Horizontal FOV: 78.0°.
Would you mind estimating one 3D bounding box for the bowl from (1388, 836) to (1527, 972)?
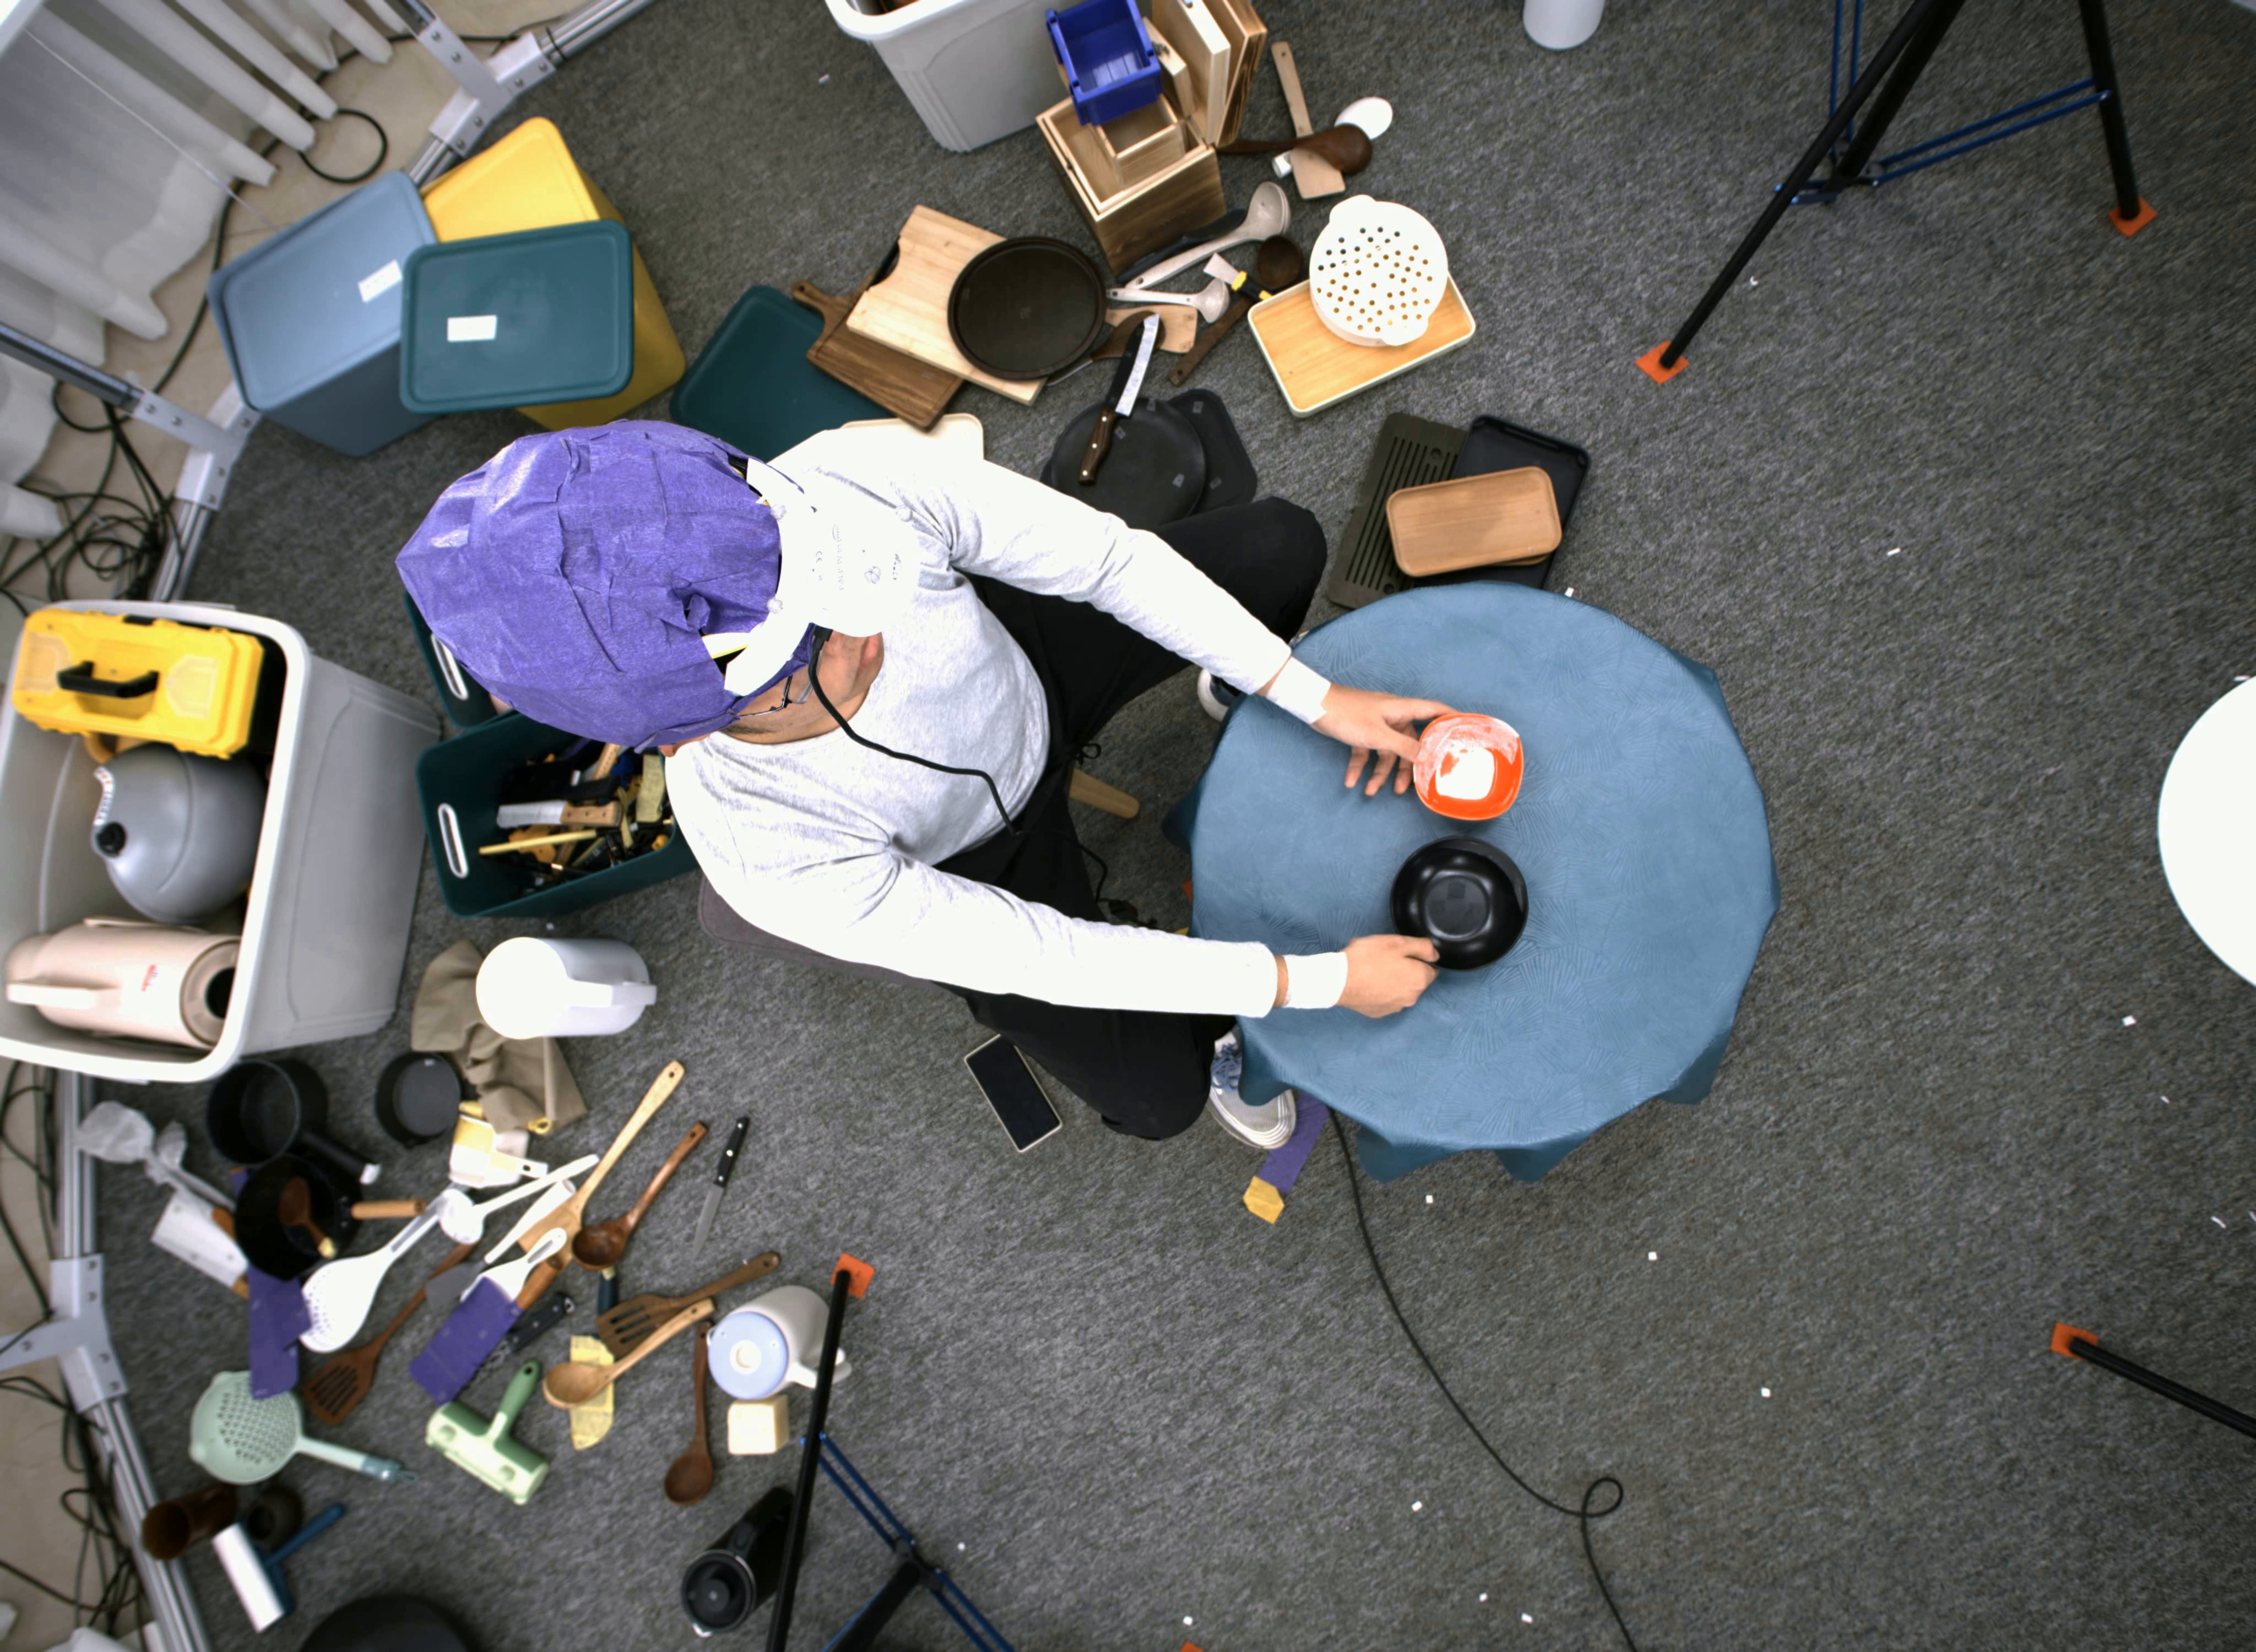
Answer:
[{"bbox_3d":[0.340,0.081,1.424,0.141,0.050,0.139,-2,84,14],"label":"bowl"}]

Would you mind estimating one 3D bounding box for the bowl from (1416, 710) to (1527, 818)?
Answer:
[{"bbox_3d":[0.353,-0.063,1.424,0.119,0.051,0.118,0,88,8],"label":"bowl"}]
